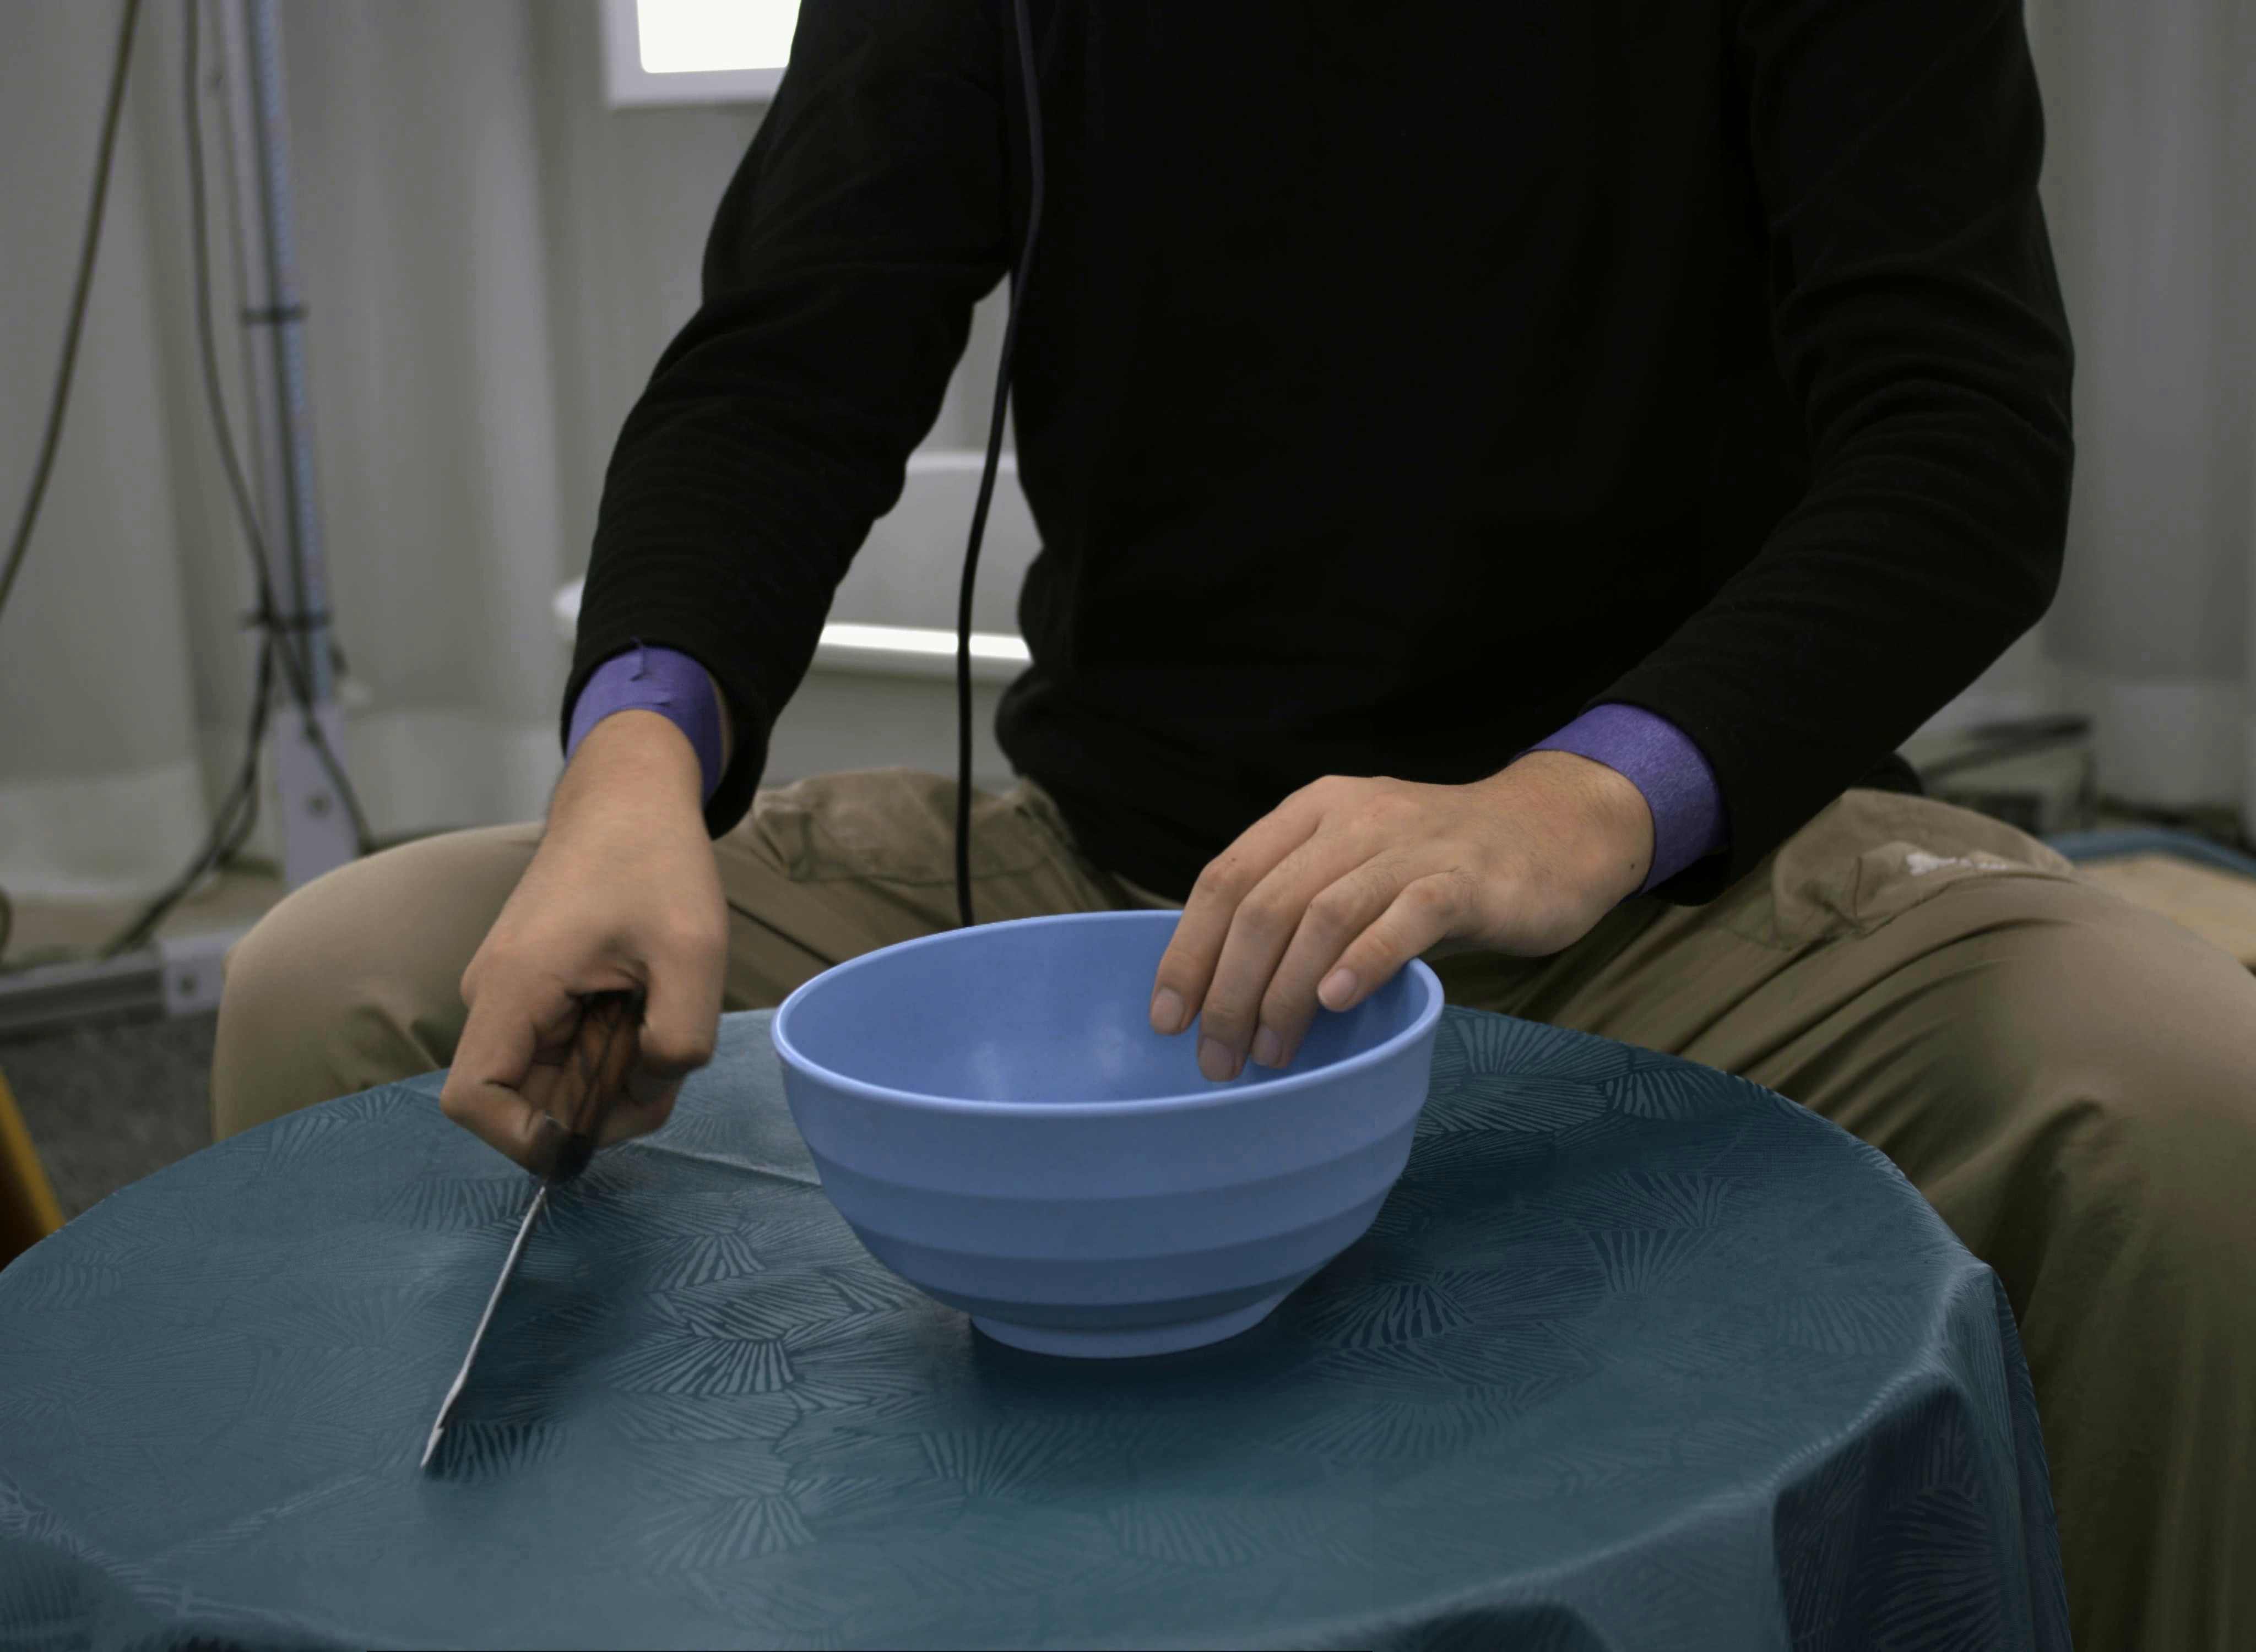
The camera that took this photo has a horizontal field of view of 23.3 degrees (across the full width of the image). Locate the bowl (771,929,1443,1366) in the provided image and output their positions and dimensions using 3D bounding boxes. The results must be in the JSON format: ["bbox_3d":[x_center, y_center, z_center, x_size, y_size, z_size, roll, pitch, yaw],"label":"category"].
[{"bbox_3d":[-0.004,0.099,1.602,0.196,0.095,0.197,-3,13,0],"label":"bowl"}]

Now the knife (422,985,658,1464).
[{"bbox_3d":[-0.176,0.115,1.635,0.020,0.050,0.292,28,23,-6],"label":"knife"}]
